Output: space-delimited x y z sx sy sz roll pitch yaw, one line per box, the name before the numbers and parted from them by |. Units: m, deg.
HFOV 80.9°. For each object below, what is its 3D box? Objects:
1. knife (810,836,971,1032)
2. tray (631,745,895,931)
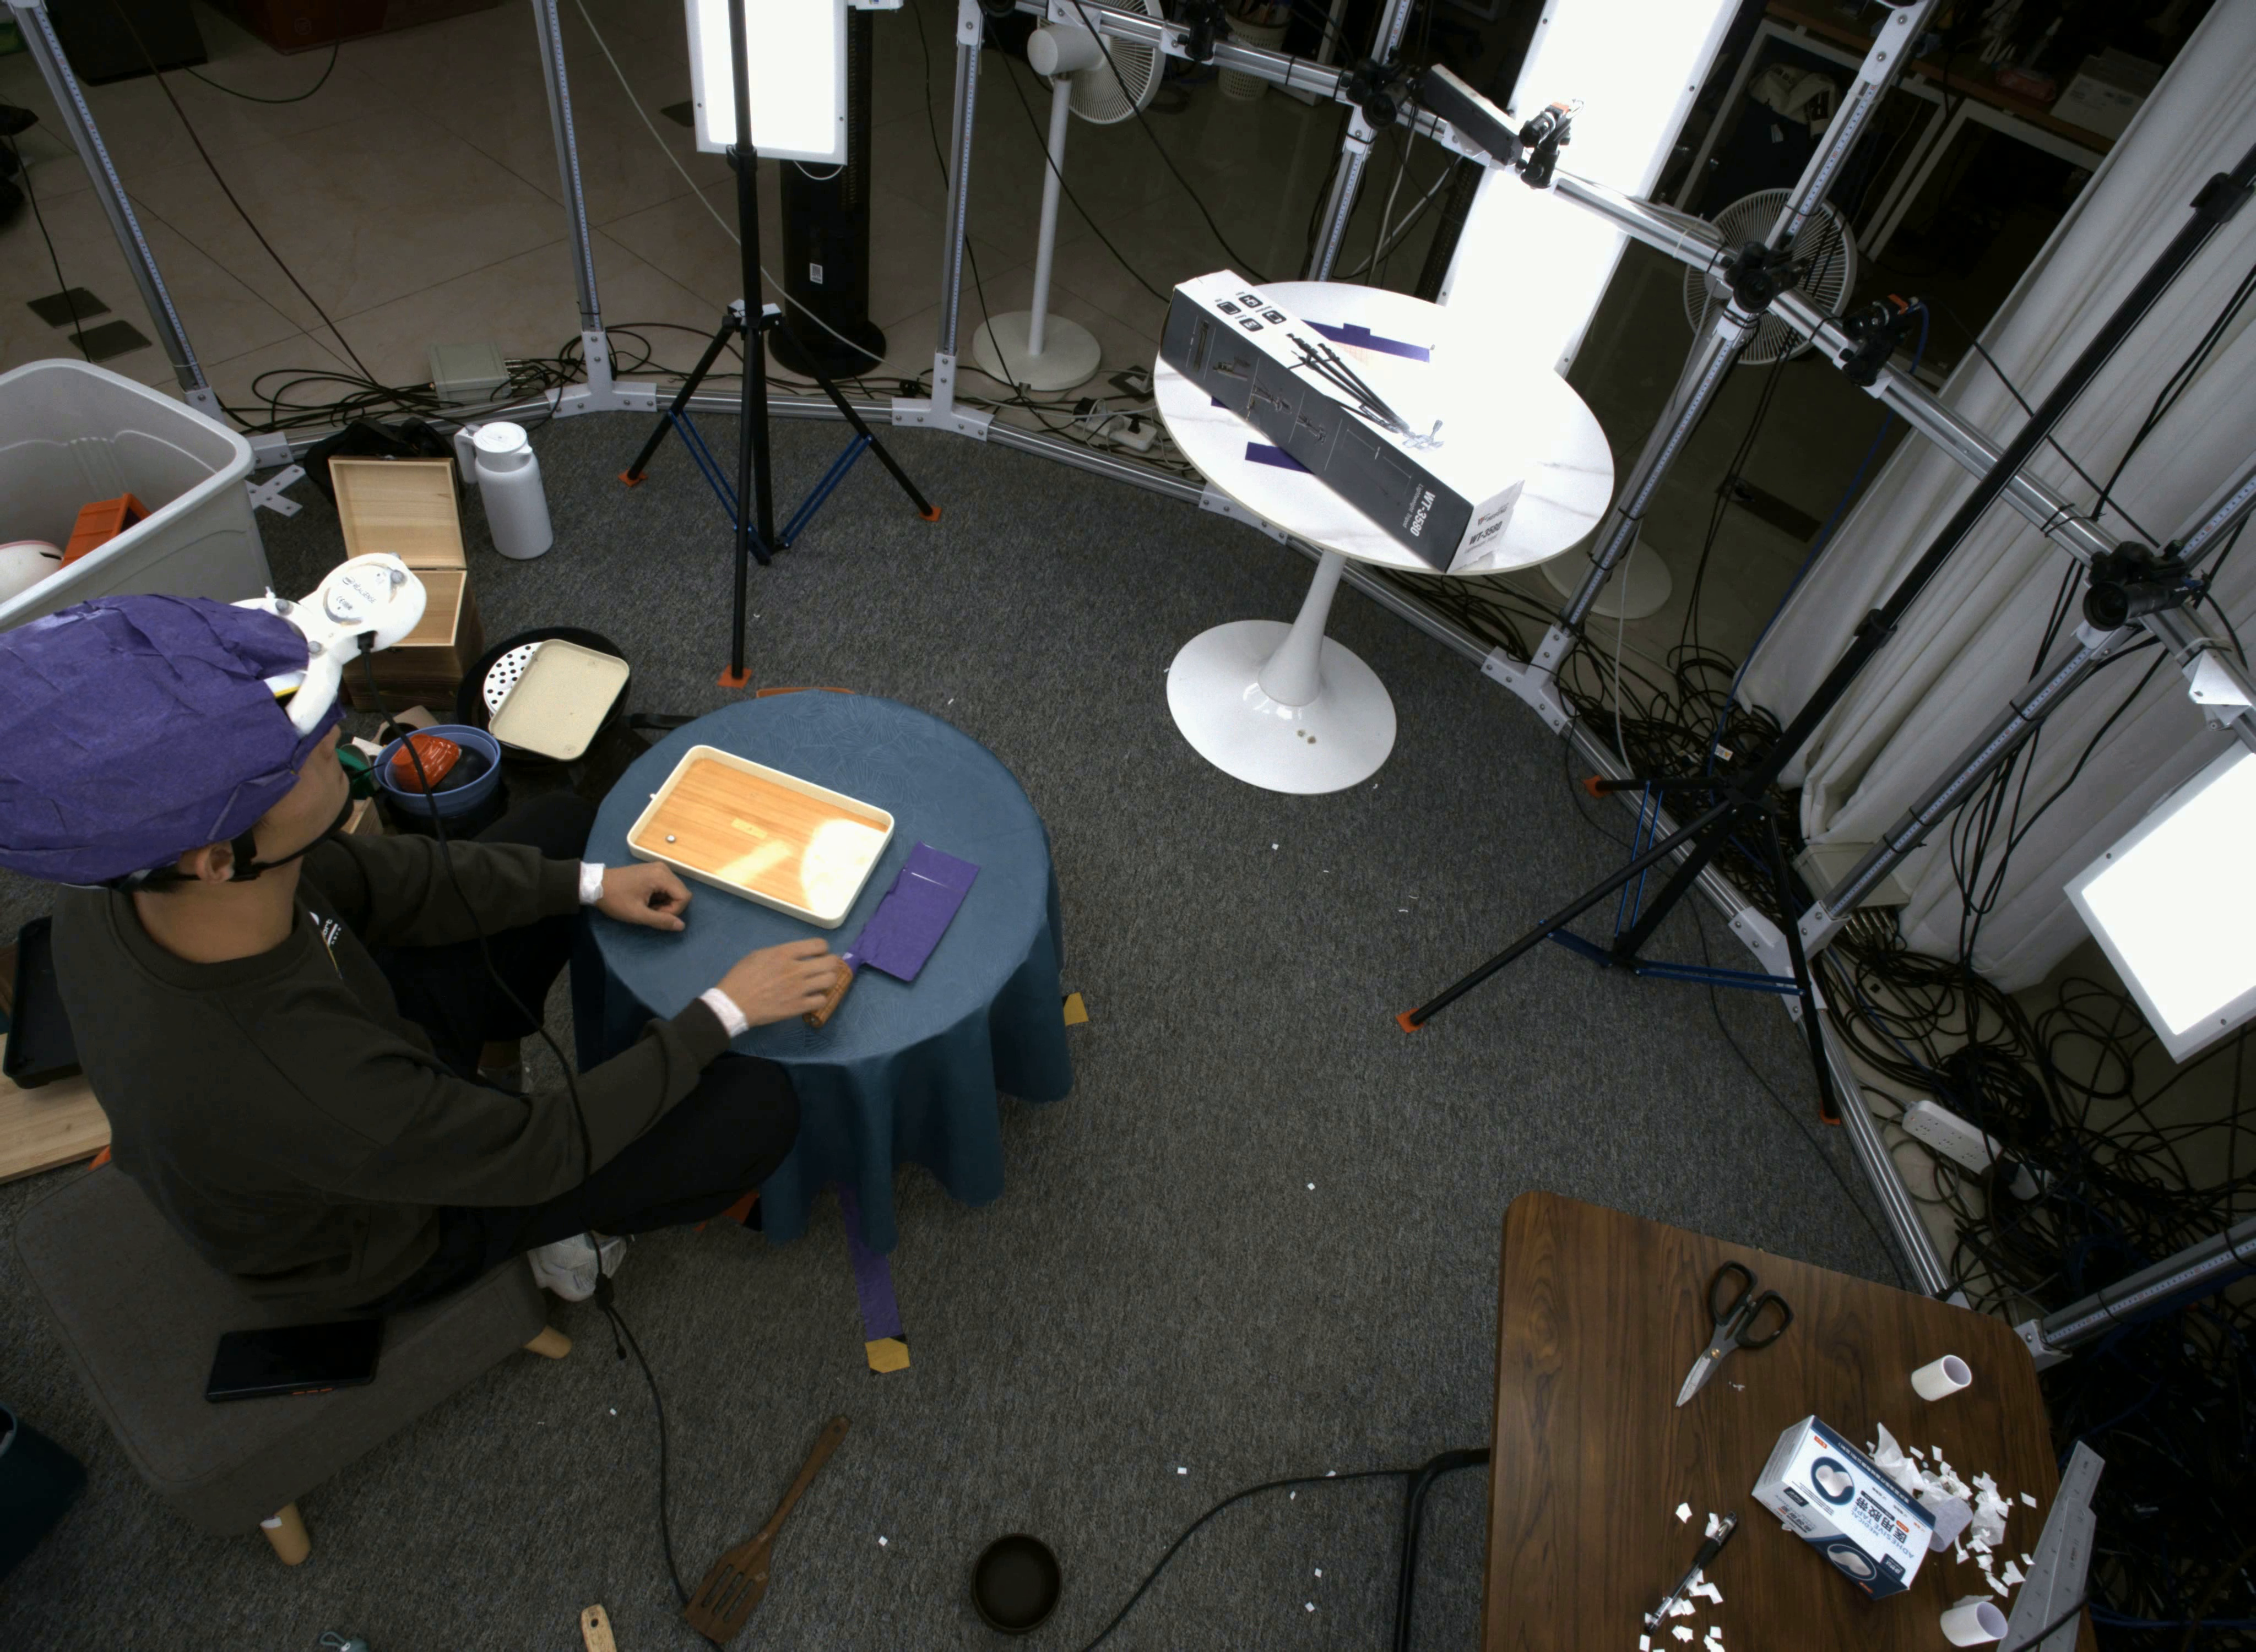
knife | -0.292 0.137 1.650 0.102 0.033 0.312 22 51 3
tray | -0.476 0.011 1.696 0.297 0.028 0.190 20 52 1
